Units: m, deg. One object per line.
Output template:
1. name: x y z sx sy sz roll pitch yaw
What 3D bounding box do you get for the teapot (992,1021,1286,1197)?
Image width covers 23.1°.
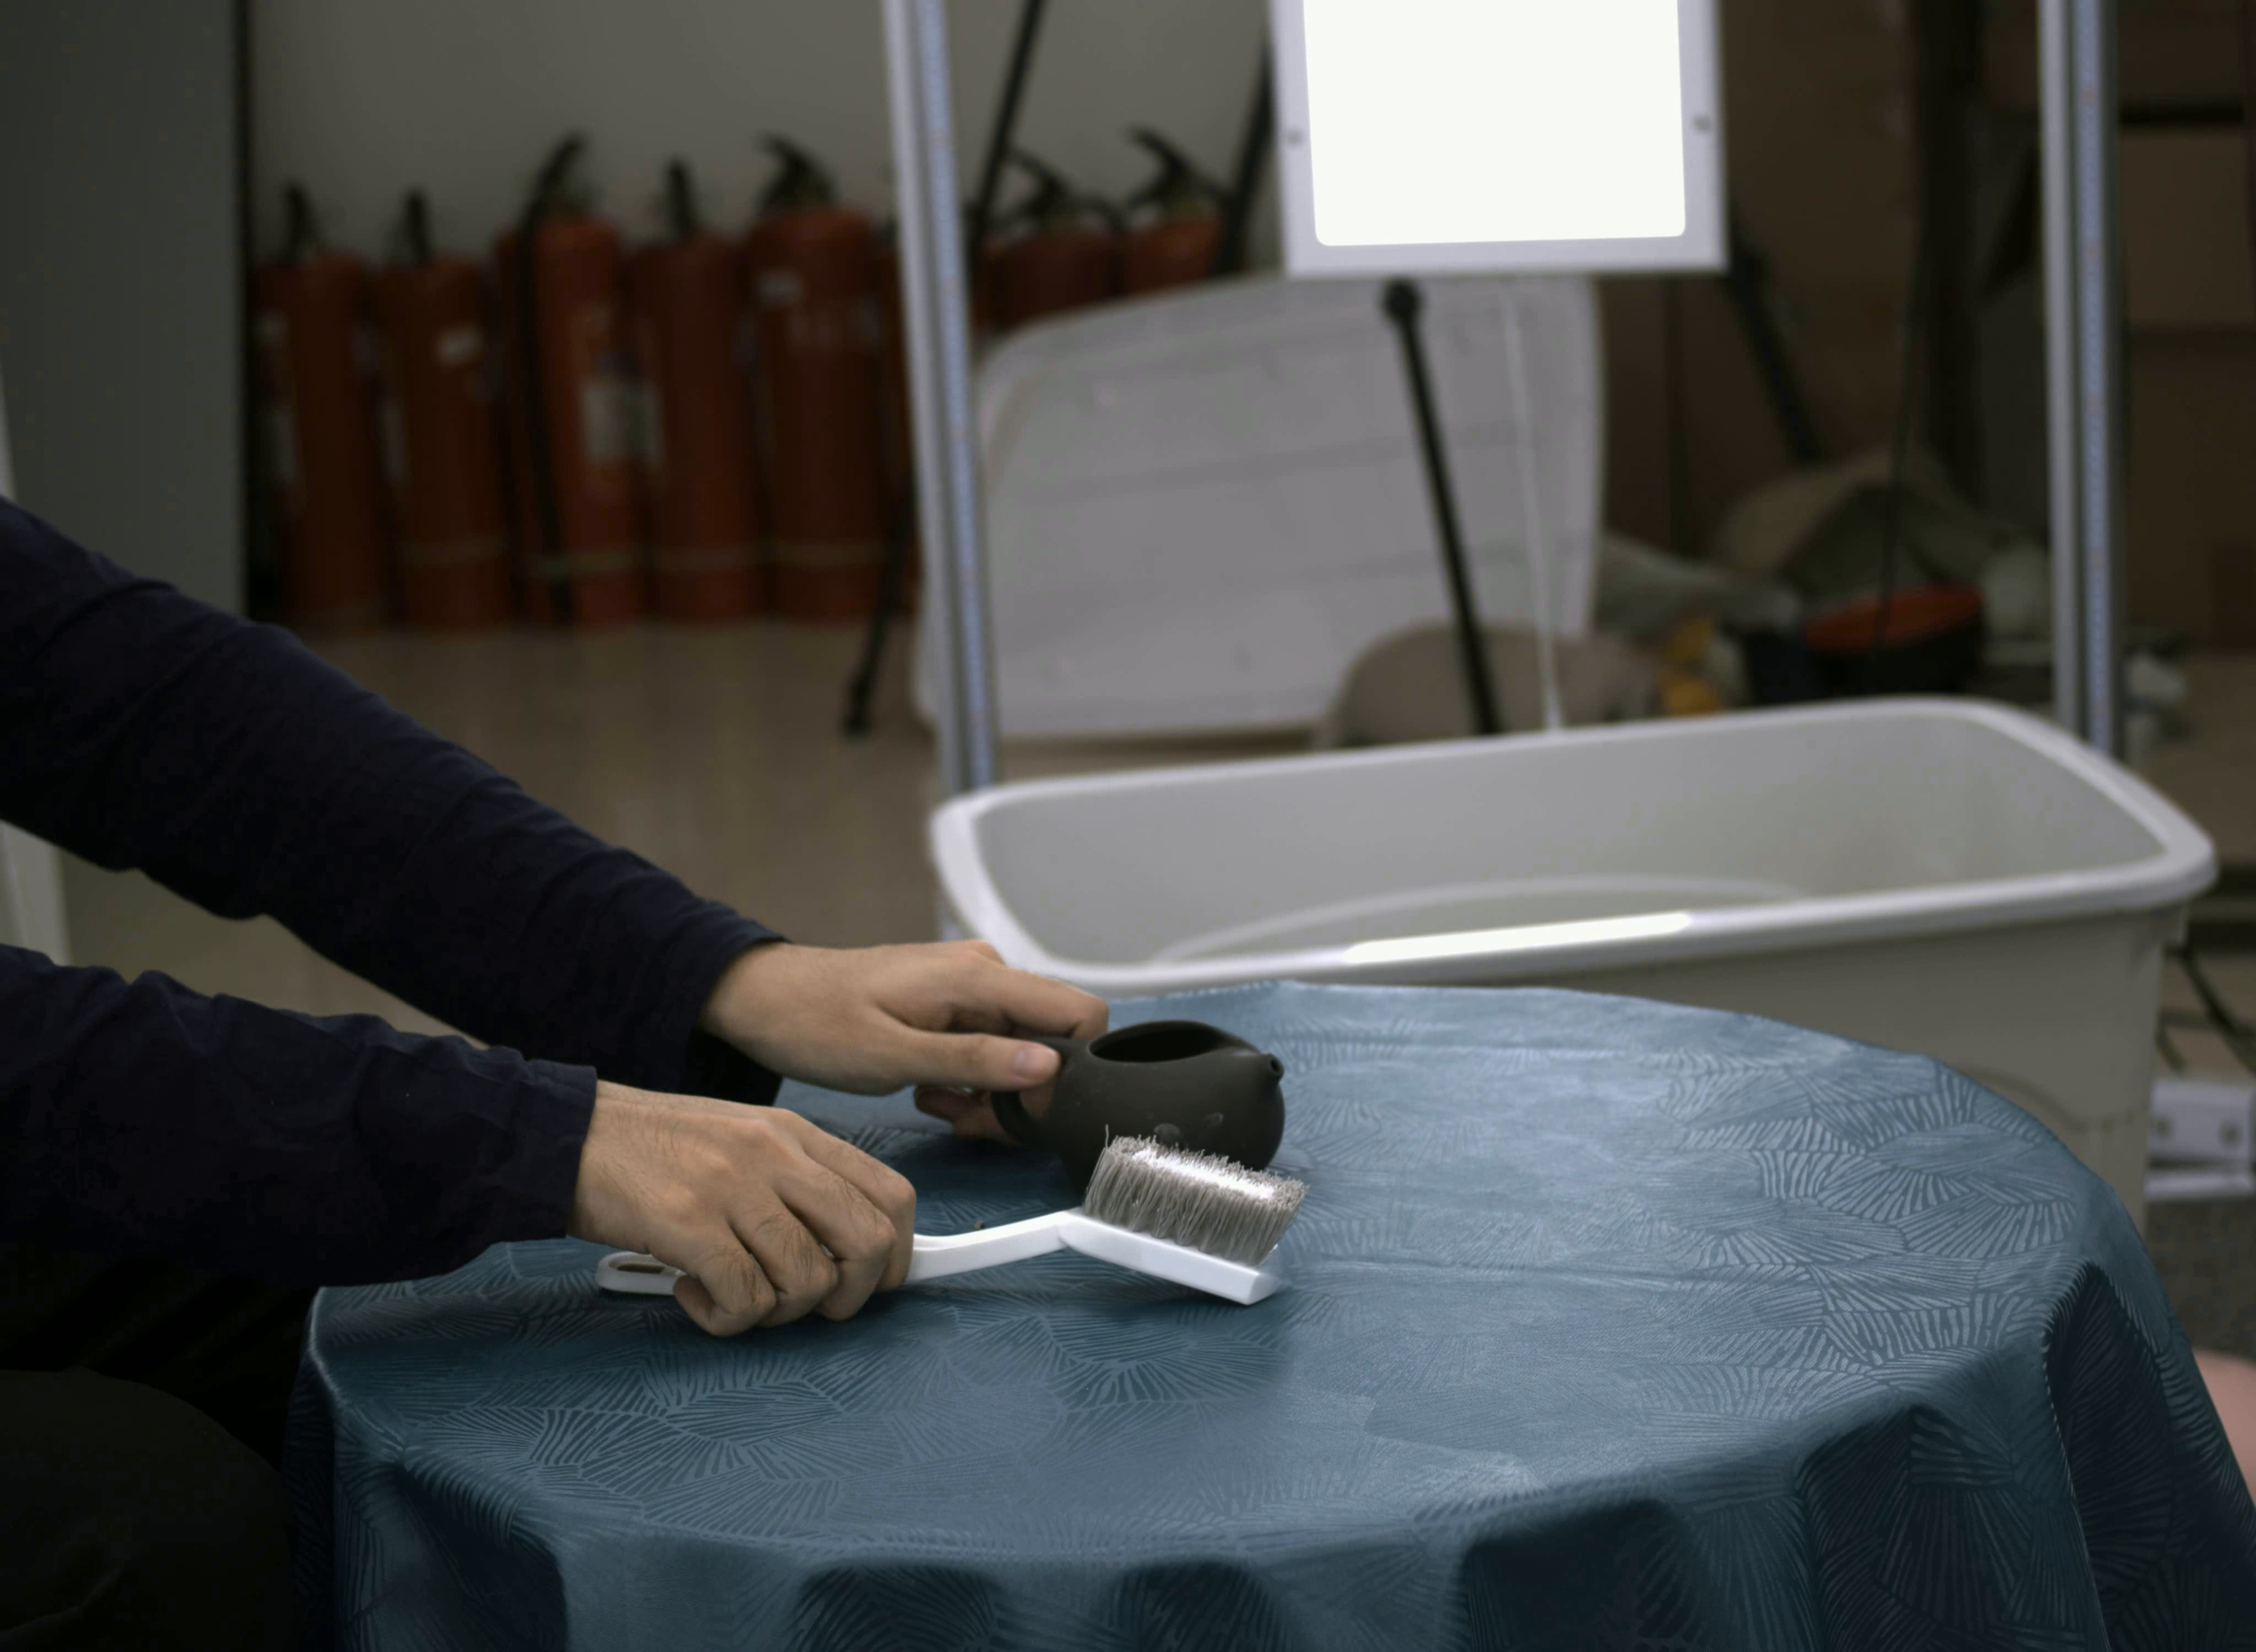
1. teapot: 0.003 0.098 1.909 0.116 0.053 0.081 4 17 30

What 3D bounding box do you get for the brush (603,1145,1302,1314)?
1. brush: -0.061 0.129 1.810 0.247 0.050 0.034 1 20 20
